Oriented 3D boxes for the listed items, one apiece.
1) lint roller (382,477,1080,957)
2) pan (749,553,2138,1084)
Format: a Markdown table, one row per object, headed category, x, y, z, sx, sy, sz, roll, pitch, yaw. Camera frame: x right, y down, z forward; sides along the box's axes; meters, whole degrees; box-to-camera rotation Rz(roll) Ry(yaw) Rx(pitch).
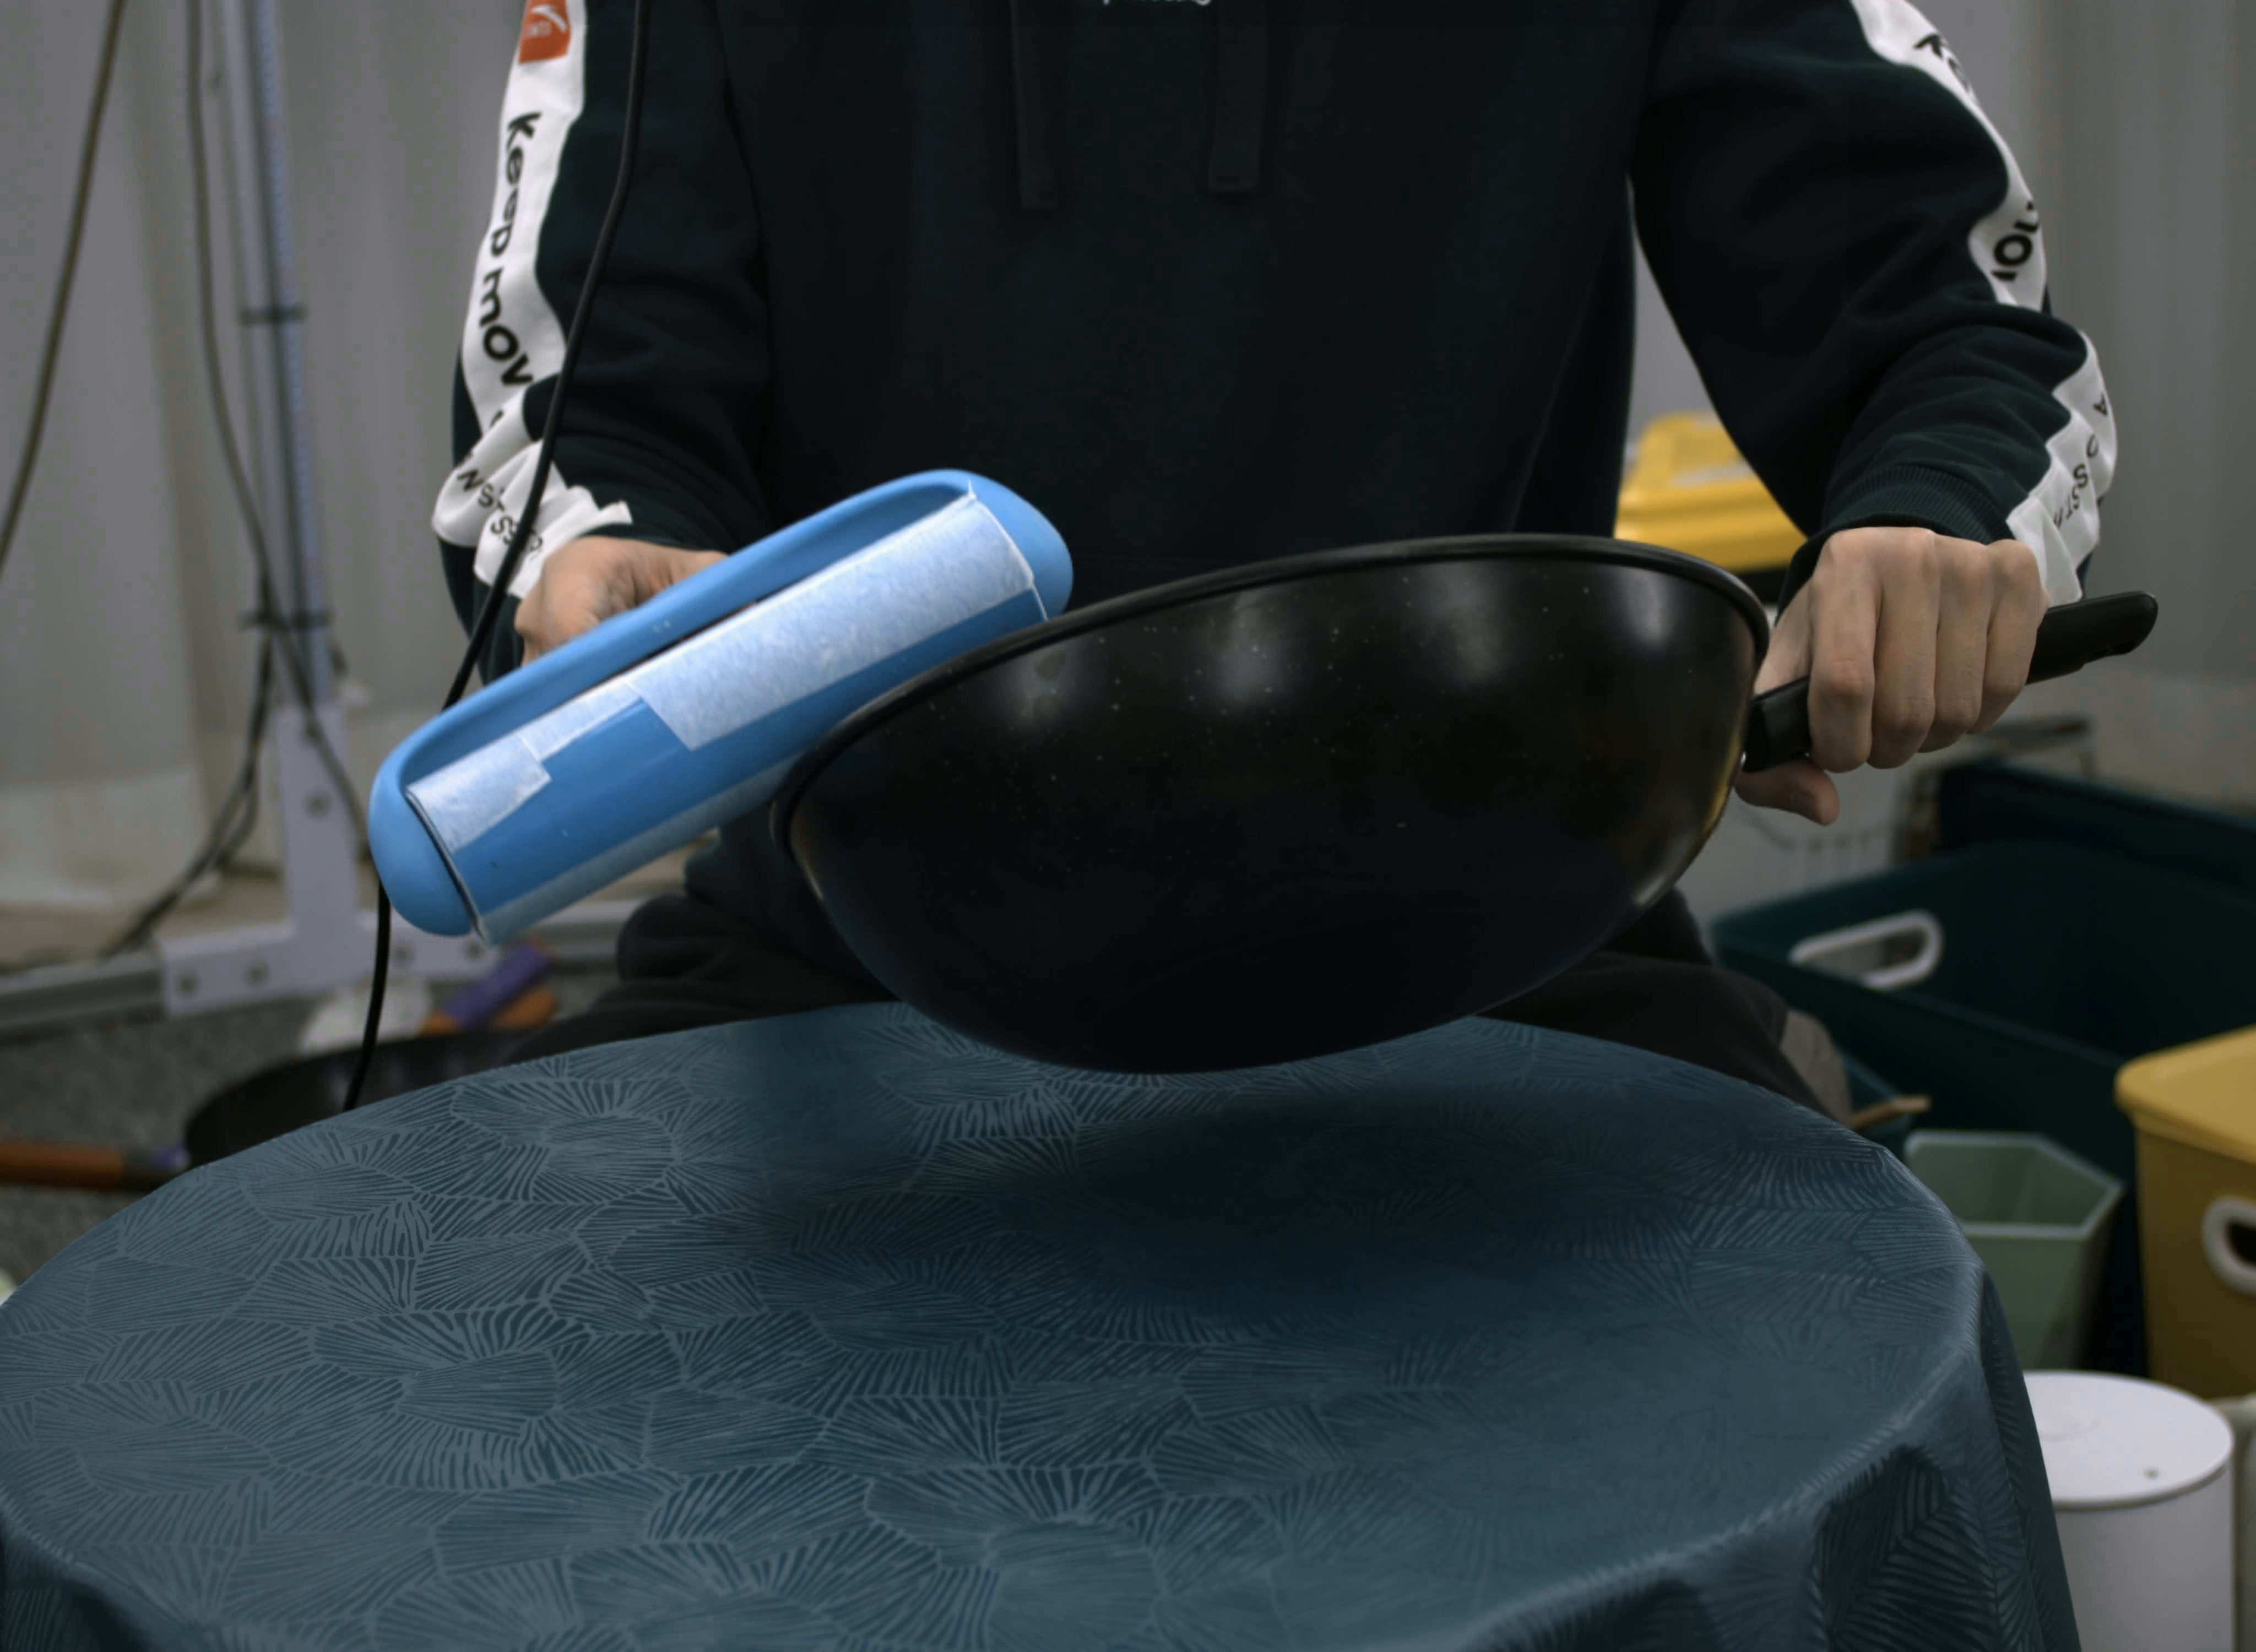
| category | x | y | z | sx | sy | sz | roll | pitch | yaw |
| --- | --- | --- | --- | --- | --- | --- | --- | --- | --- |
| lint roller | -0.136 | -0.037 | 1.686 | 0.229 | 0.067 | 0.181 | -31 | 15 | -15 |
| pan | 0.119 | -0.003 | 1.679 | 0.474 | 0.113 | 0.308 | -4 | -17 | -24 |
